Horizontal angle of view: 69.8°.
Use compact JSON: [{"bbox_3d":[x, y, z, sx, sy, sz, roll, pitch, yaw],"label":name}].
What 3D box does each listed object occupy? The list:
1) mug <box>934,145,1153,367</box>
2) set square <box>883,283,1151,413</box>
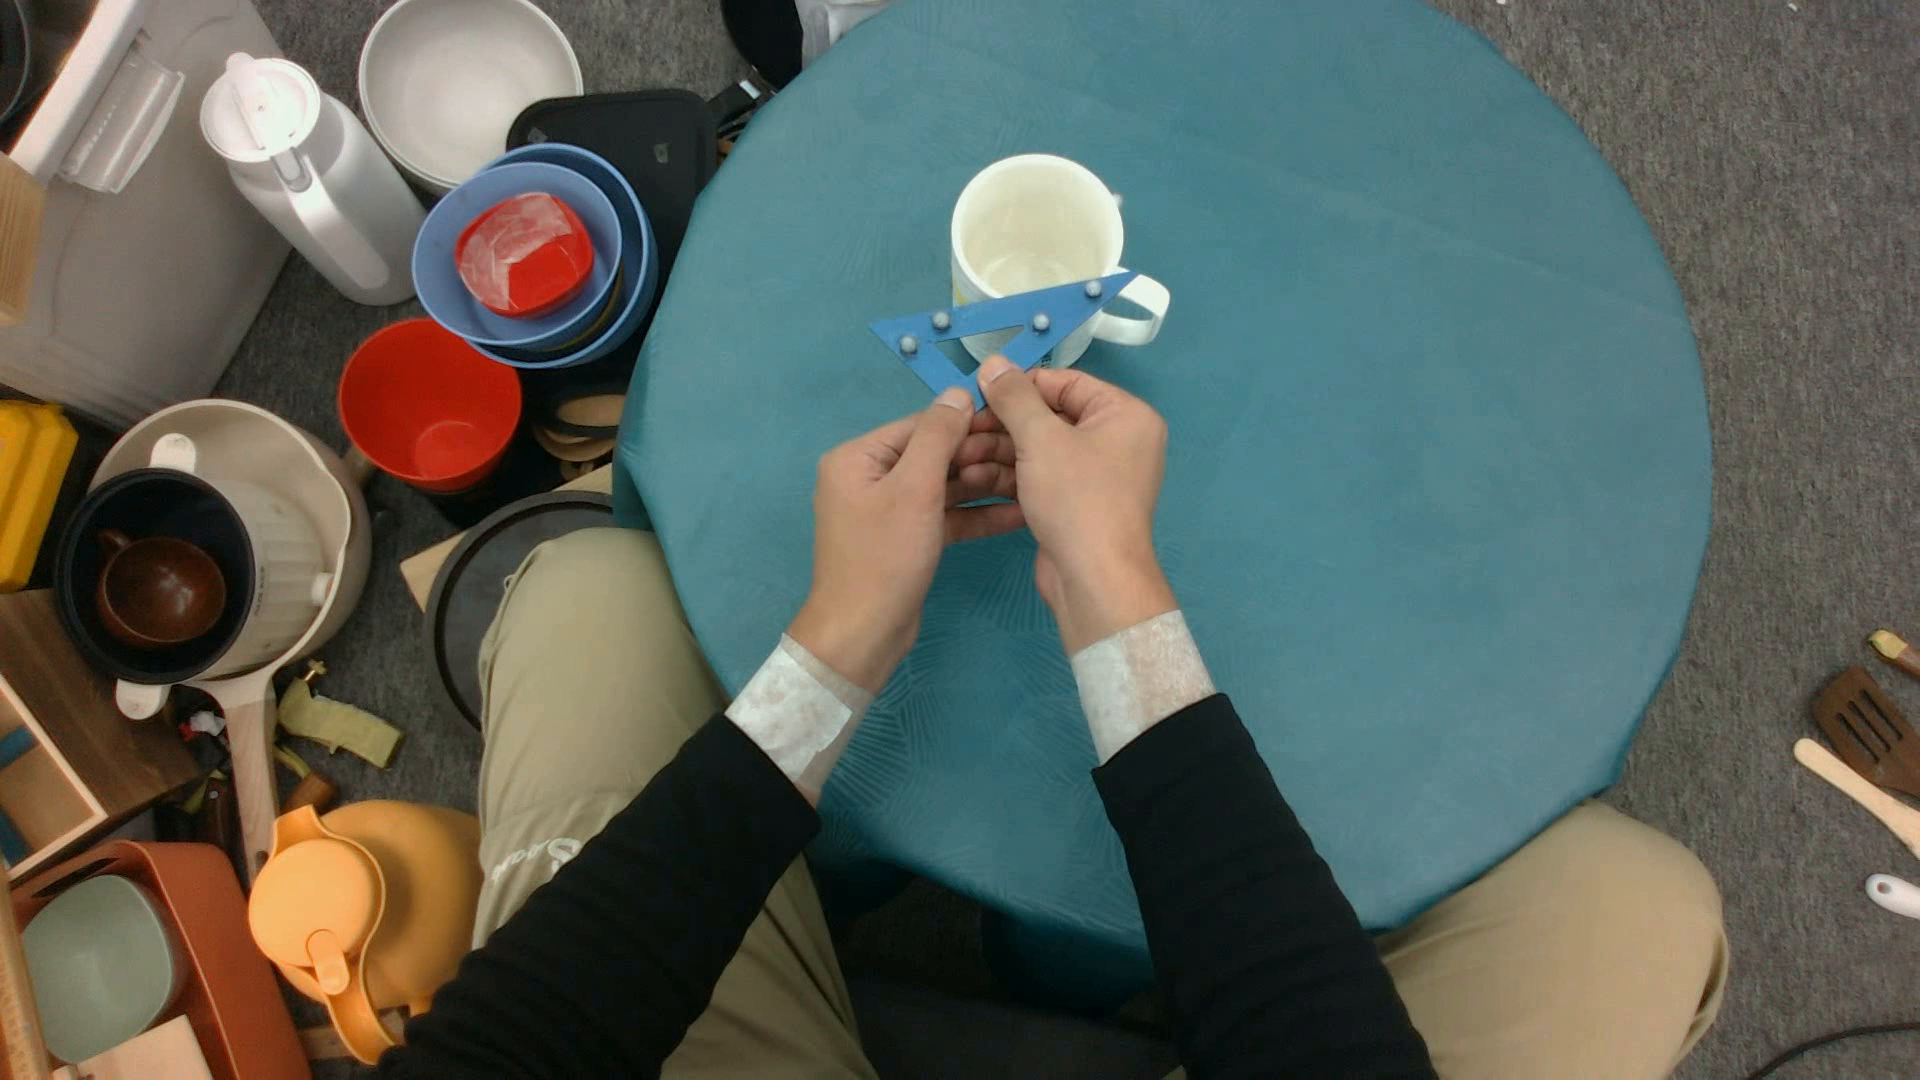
[{"bbox_3d":[0.044,-0.142,0.736,0.118,0.101,0.085,22,75,4],"label":"mug"},{"bbox_3d":[0.032,-0.094,0.666,0.132,0.006,0.061,-8,68,-4],"label":"set square"}]
